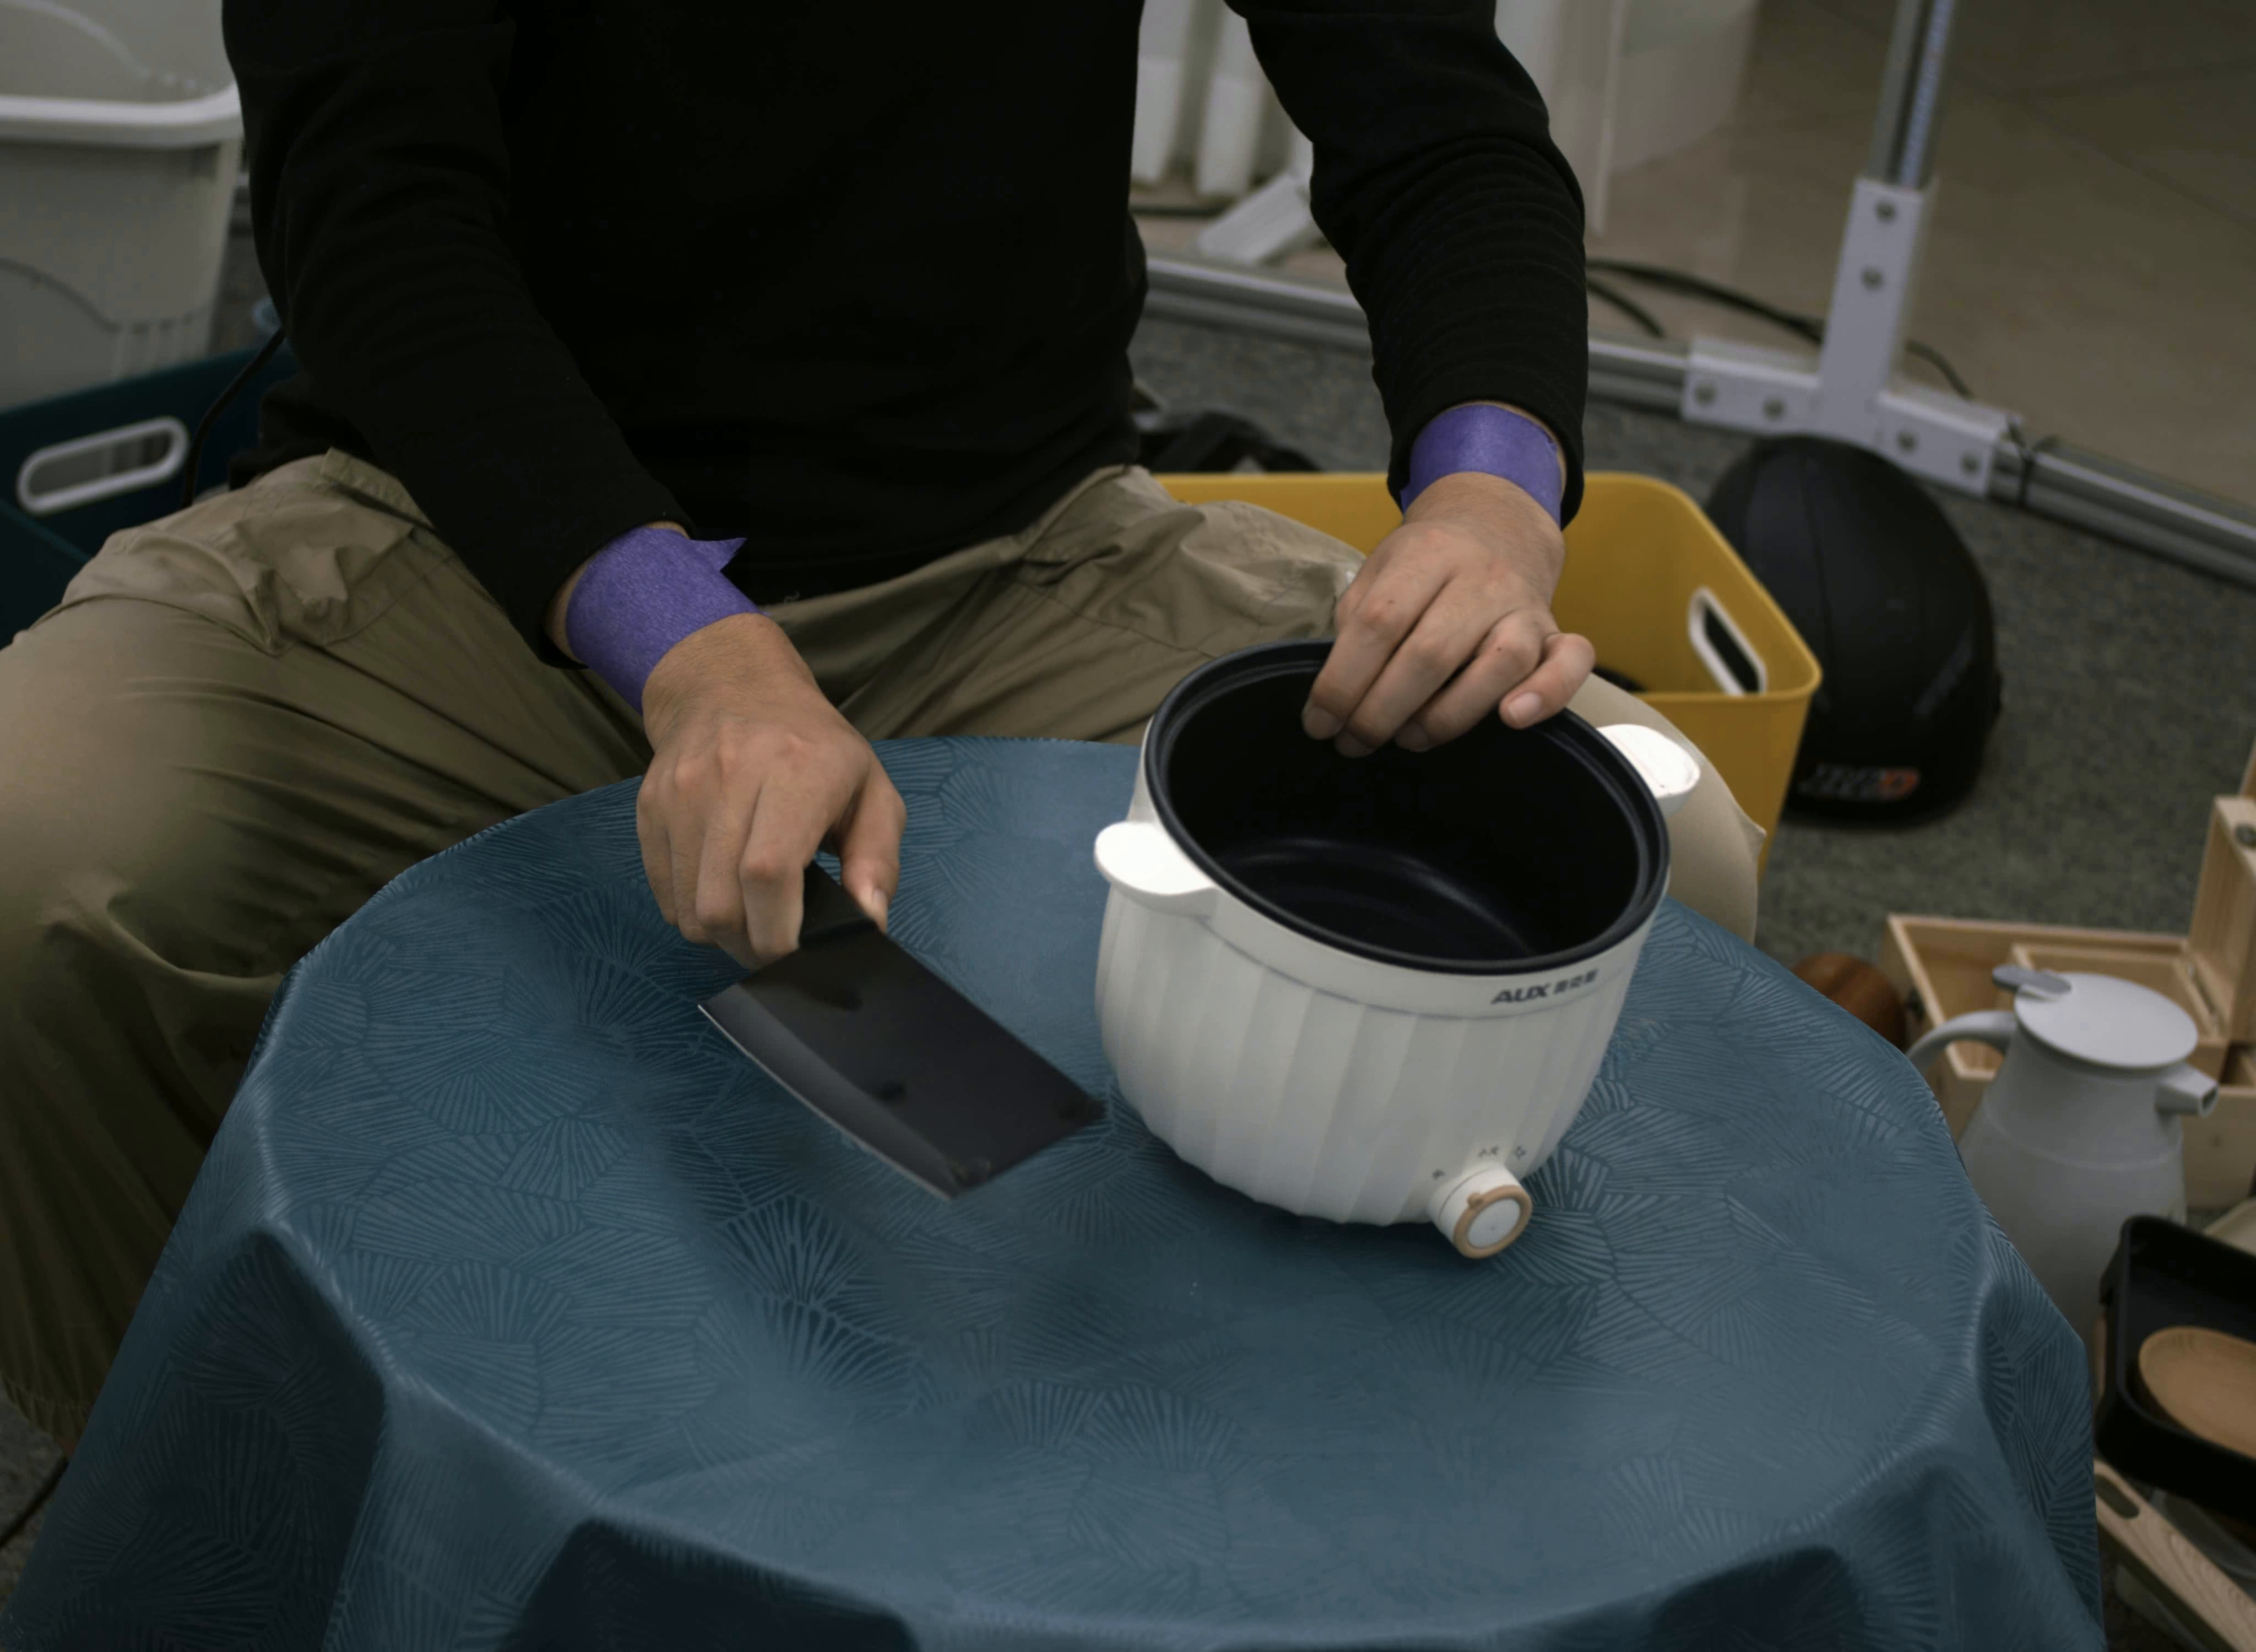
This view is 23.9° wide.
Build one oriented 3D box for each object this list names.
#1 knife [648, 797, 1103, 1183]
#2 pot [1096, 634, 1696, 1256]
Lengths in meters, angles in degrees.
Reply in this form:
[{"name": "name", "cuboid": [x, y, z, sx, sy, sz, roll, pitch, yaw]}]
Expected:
[{"name": "knife", "cuboid": [-0.099, 0.051, 1.787, 0.080, 0.021, 0.305, -26, 29, -14]}, {"name": "pot", "cuboid": [0.084, 0.045, 1.812, 0.239, 0.142, 0.192, -12, 40, -31]}]
